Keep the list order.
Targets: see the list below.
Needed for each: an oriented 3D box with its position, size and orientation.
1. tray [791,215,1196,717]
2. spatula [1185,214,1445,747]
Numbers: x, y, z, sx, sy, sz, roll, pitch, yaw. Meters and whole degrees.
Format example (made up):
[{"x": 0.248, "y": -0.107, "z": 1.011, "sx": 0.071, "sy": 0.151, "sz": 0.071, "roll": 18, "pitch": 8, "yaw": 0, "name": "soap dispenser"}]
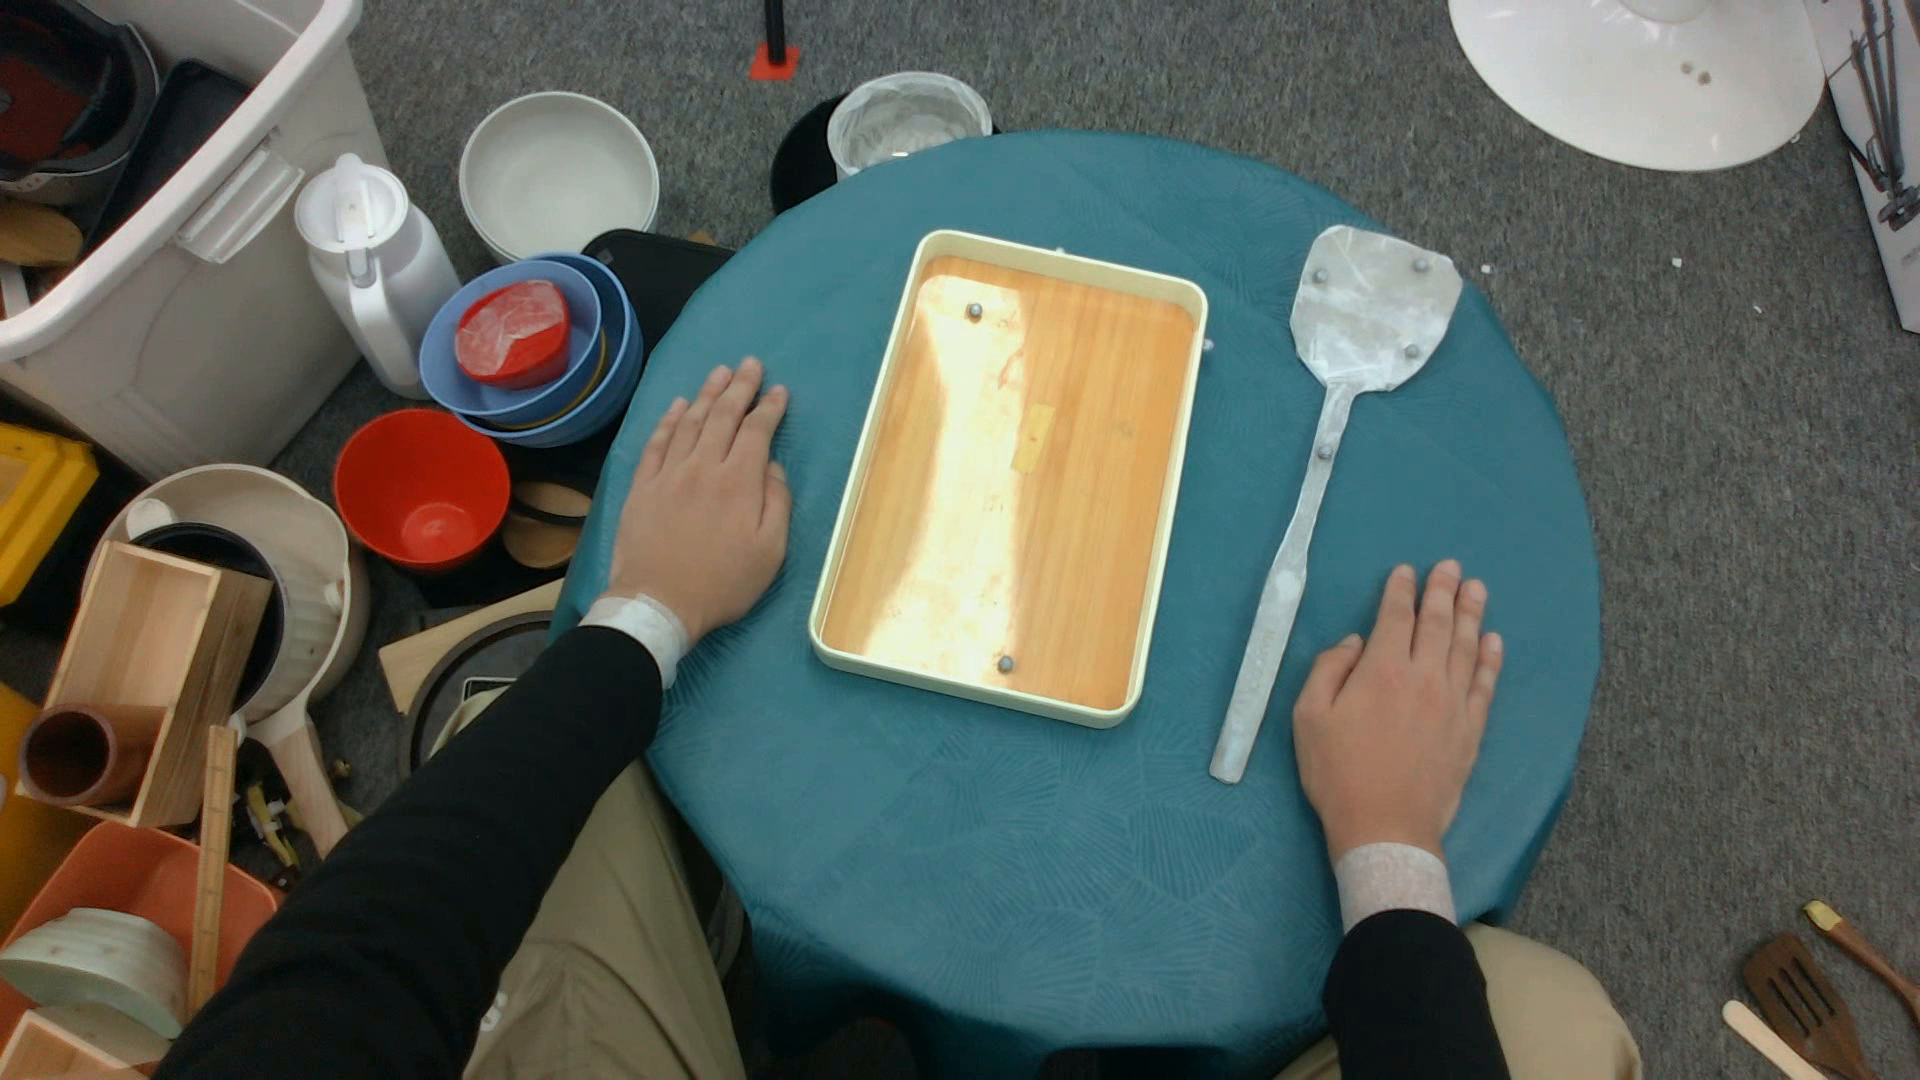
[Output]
[{"x": 0.027, "y": -0.054, "z": 0.826, "sx": 0.191, "sy": 0.027, "sz": 0.301, "roll": 13, "pitch": 65, "yaw": 2, "name": "tray"}, {"x": 0.203, "y": -0.041, "z": 0.827, "sx": 0.098, "sy": 0.044, "sz": 0.366, "roll": 21, "pitch": 65, "yaw": 5, "name": "spatula"}]
